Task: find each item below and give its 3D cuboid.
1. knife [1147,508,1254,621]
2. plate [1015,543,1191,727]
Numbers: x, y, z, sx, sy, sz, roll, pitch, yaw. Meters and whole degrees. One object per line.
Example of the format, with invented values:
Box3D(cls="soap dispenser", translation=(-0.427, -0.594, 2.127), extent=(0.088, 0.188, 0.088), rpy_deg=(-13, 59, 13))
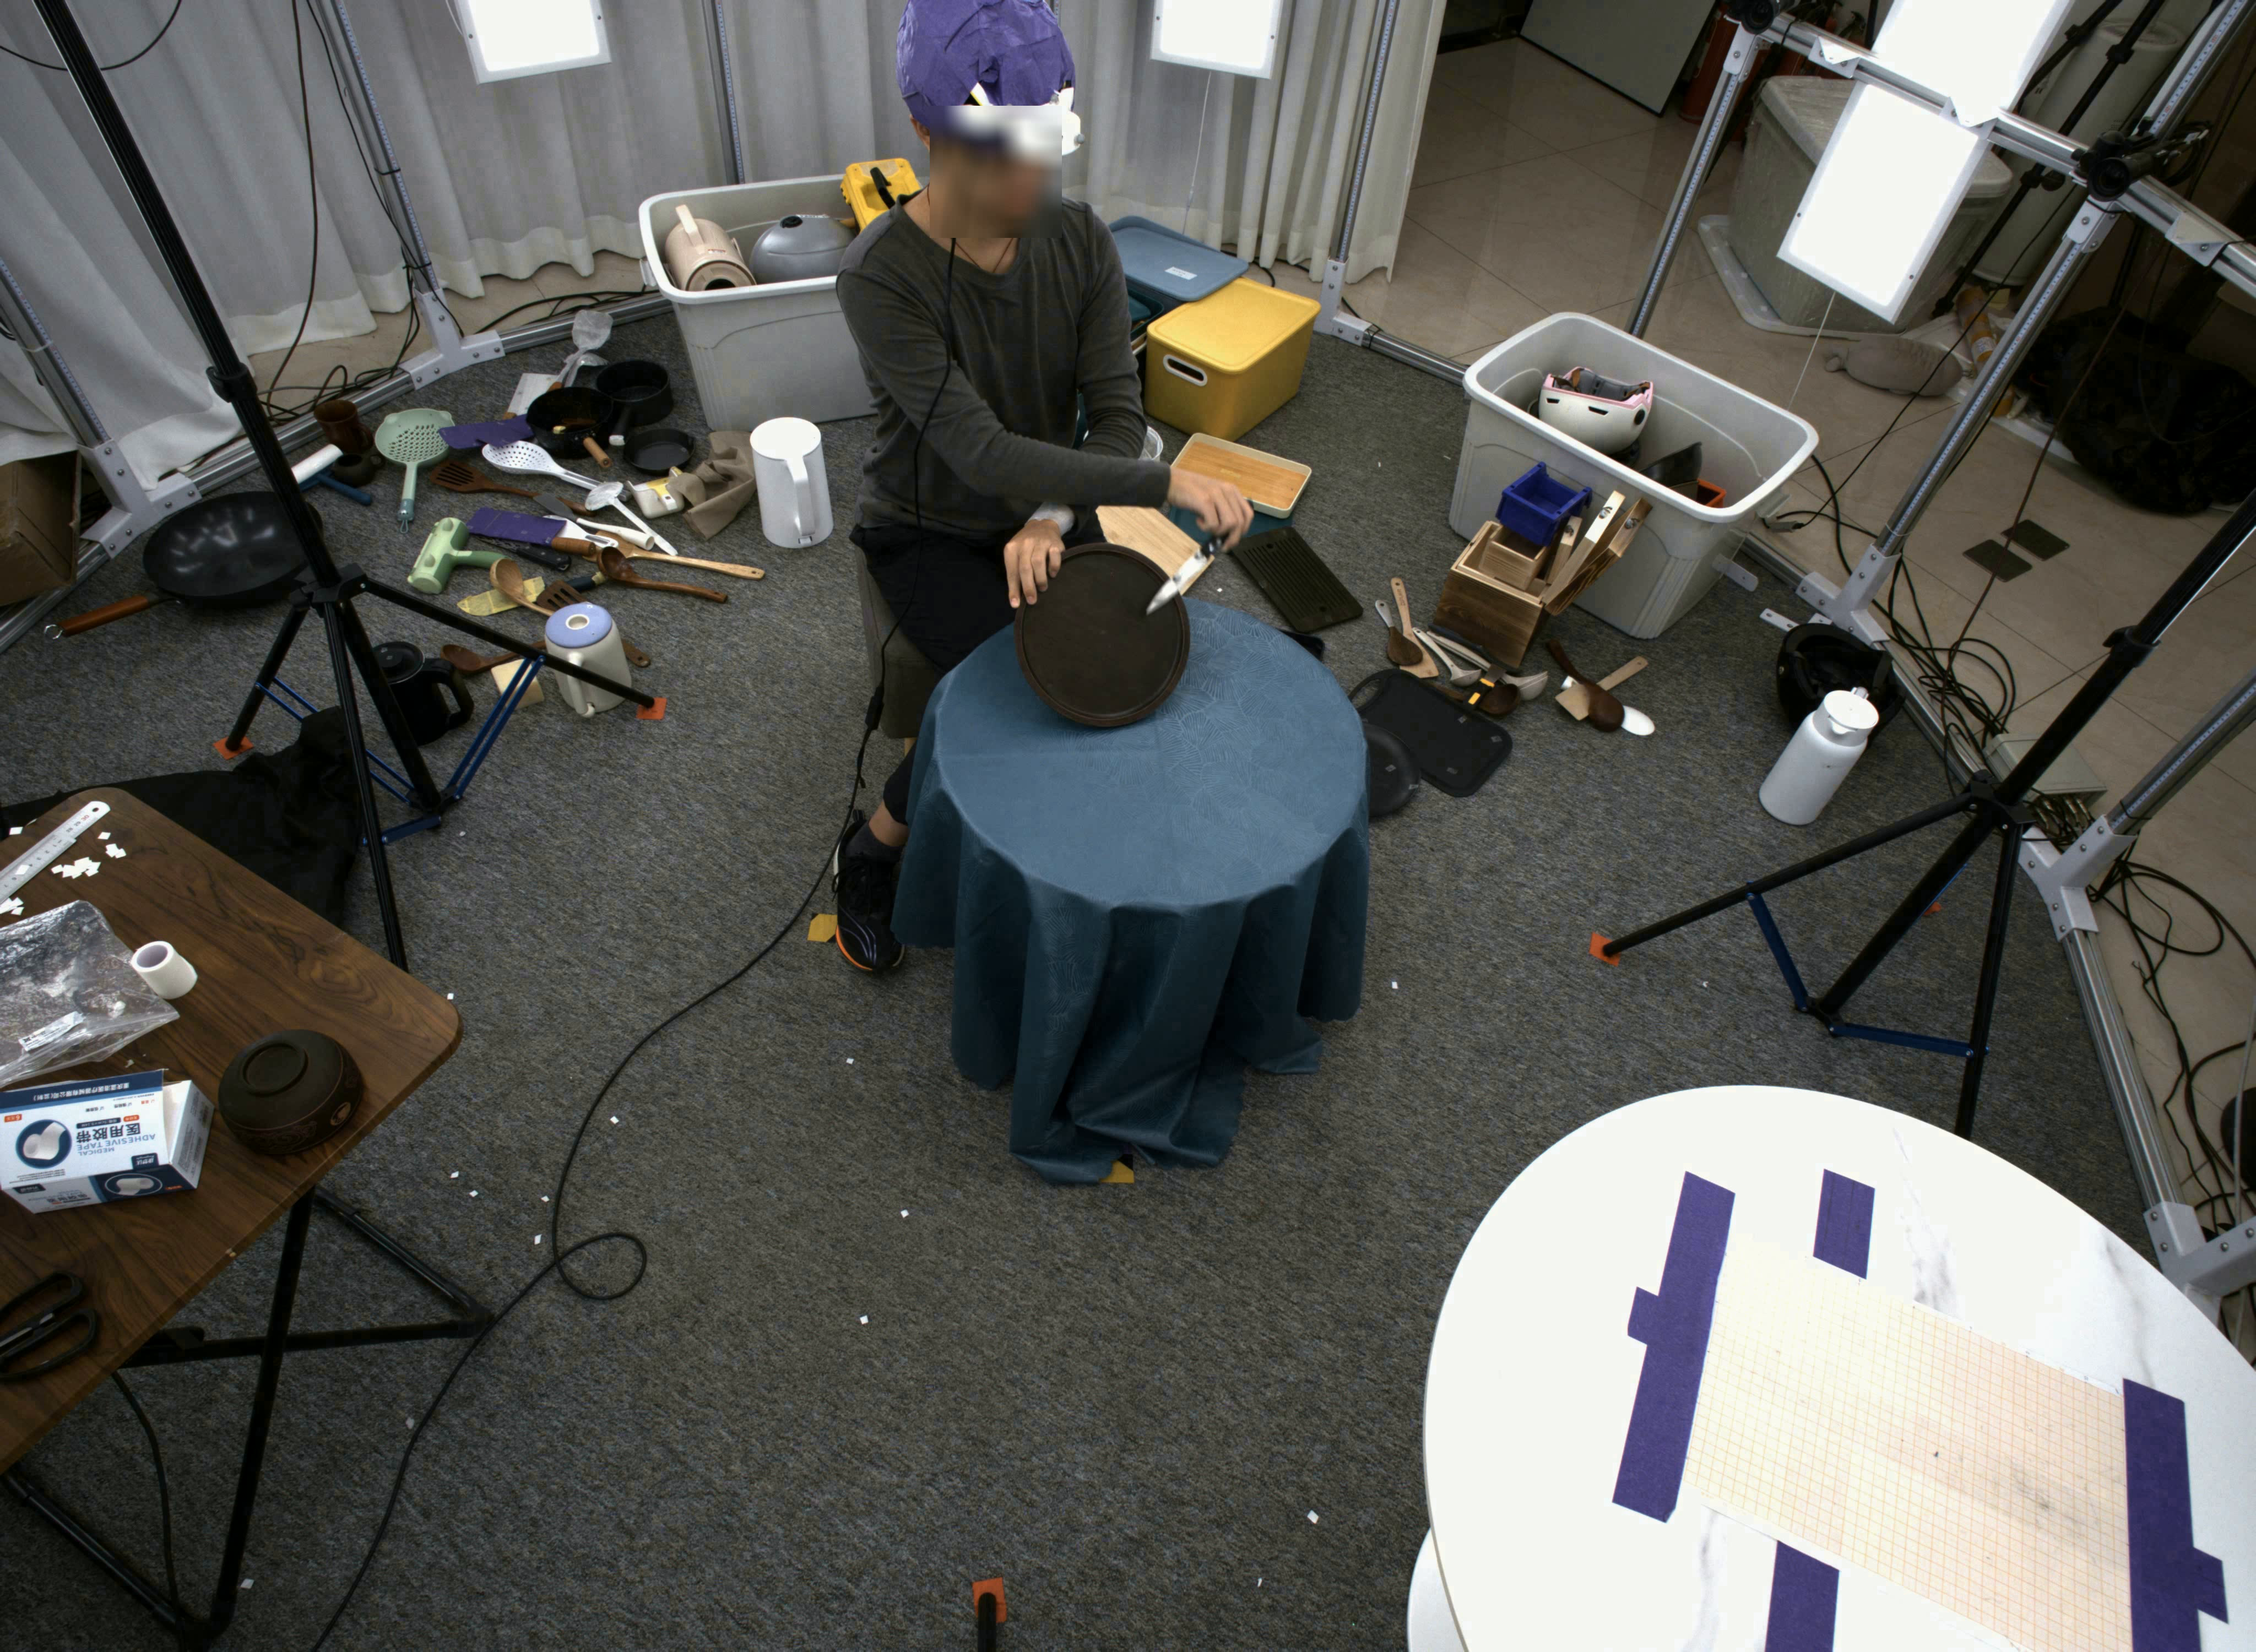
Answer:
Box3D(cls="knife", translation=(0.101, -0.371, 1.815), extent=(0.240, 0.024, 0.016), rpy_deg=(-49, 33, -19))
Box3D(cls="plate", translation=(-0.034, -0.264, 1.783), extent=(0.254, 0.029, 0.255), rpy_deg=(0, 90, -17))
